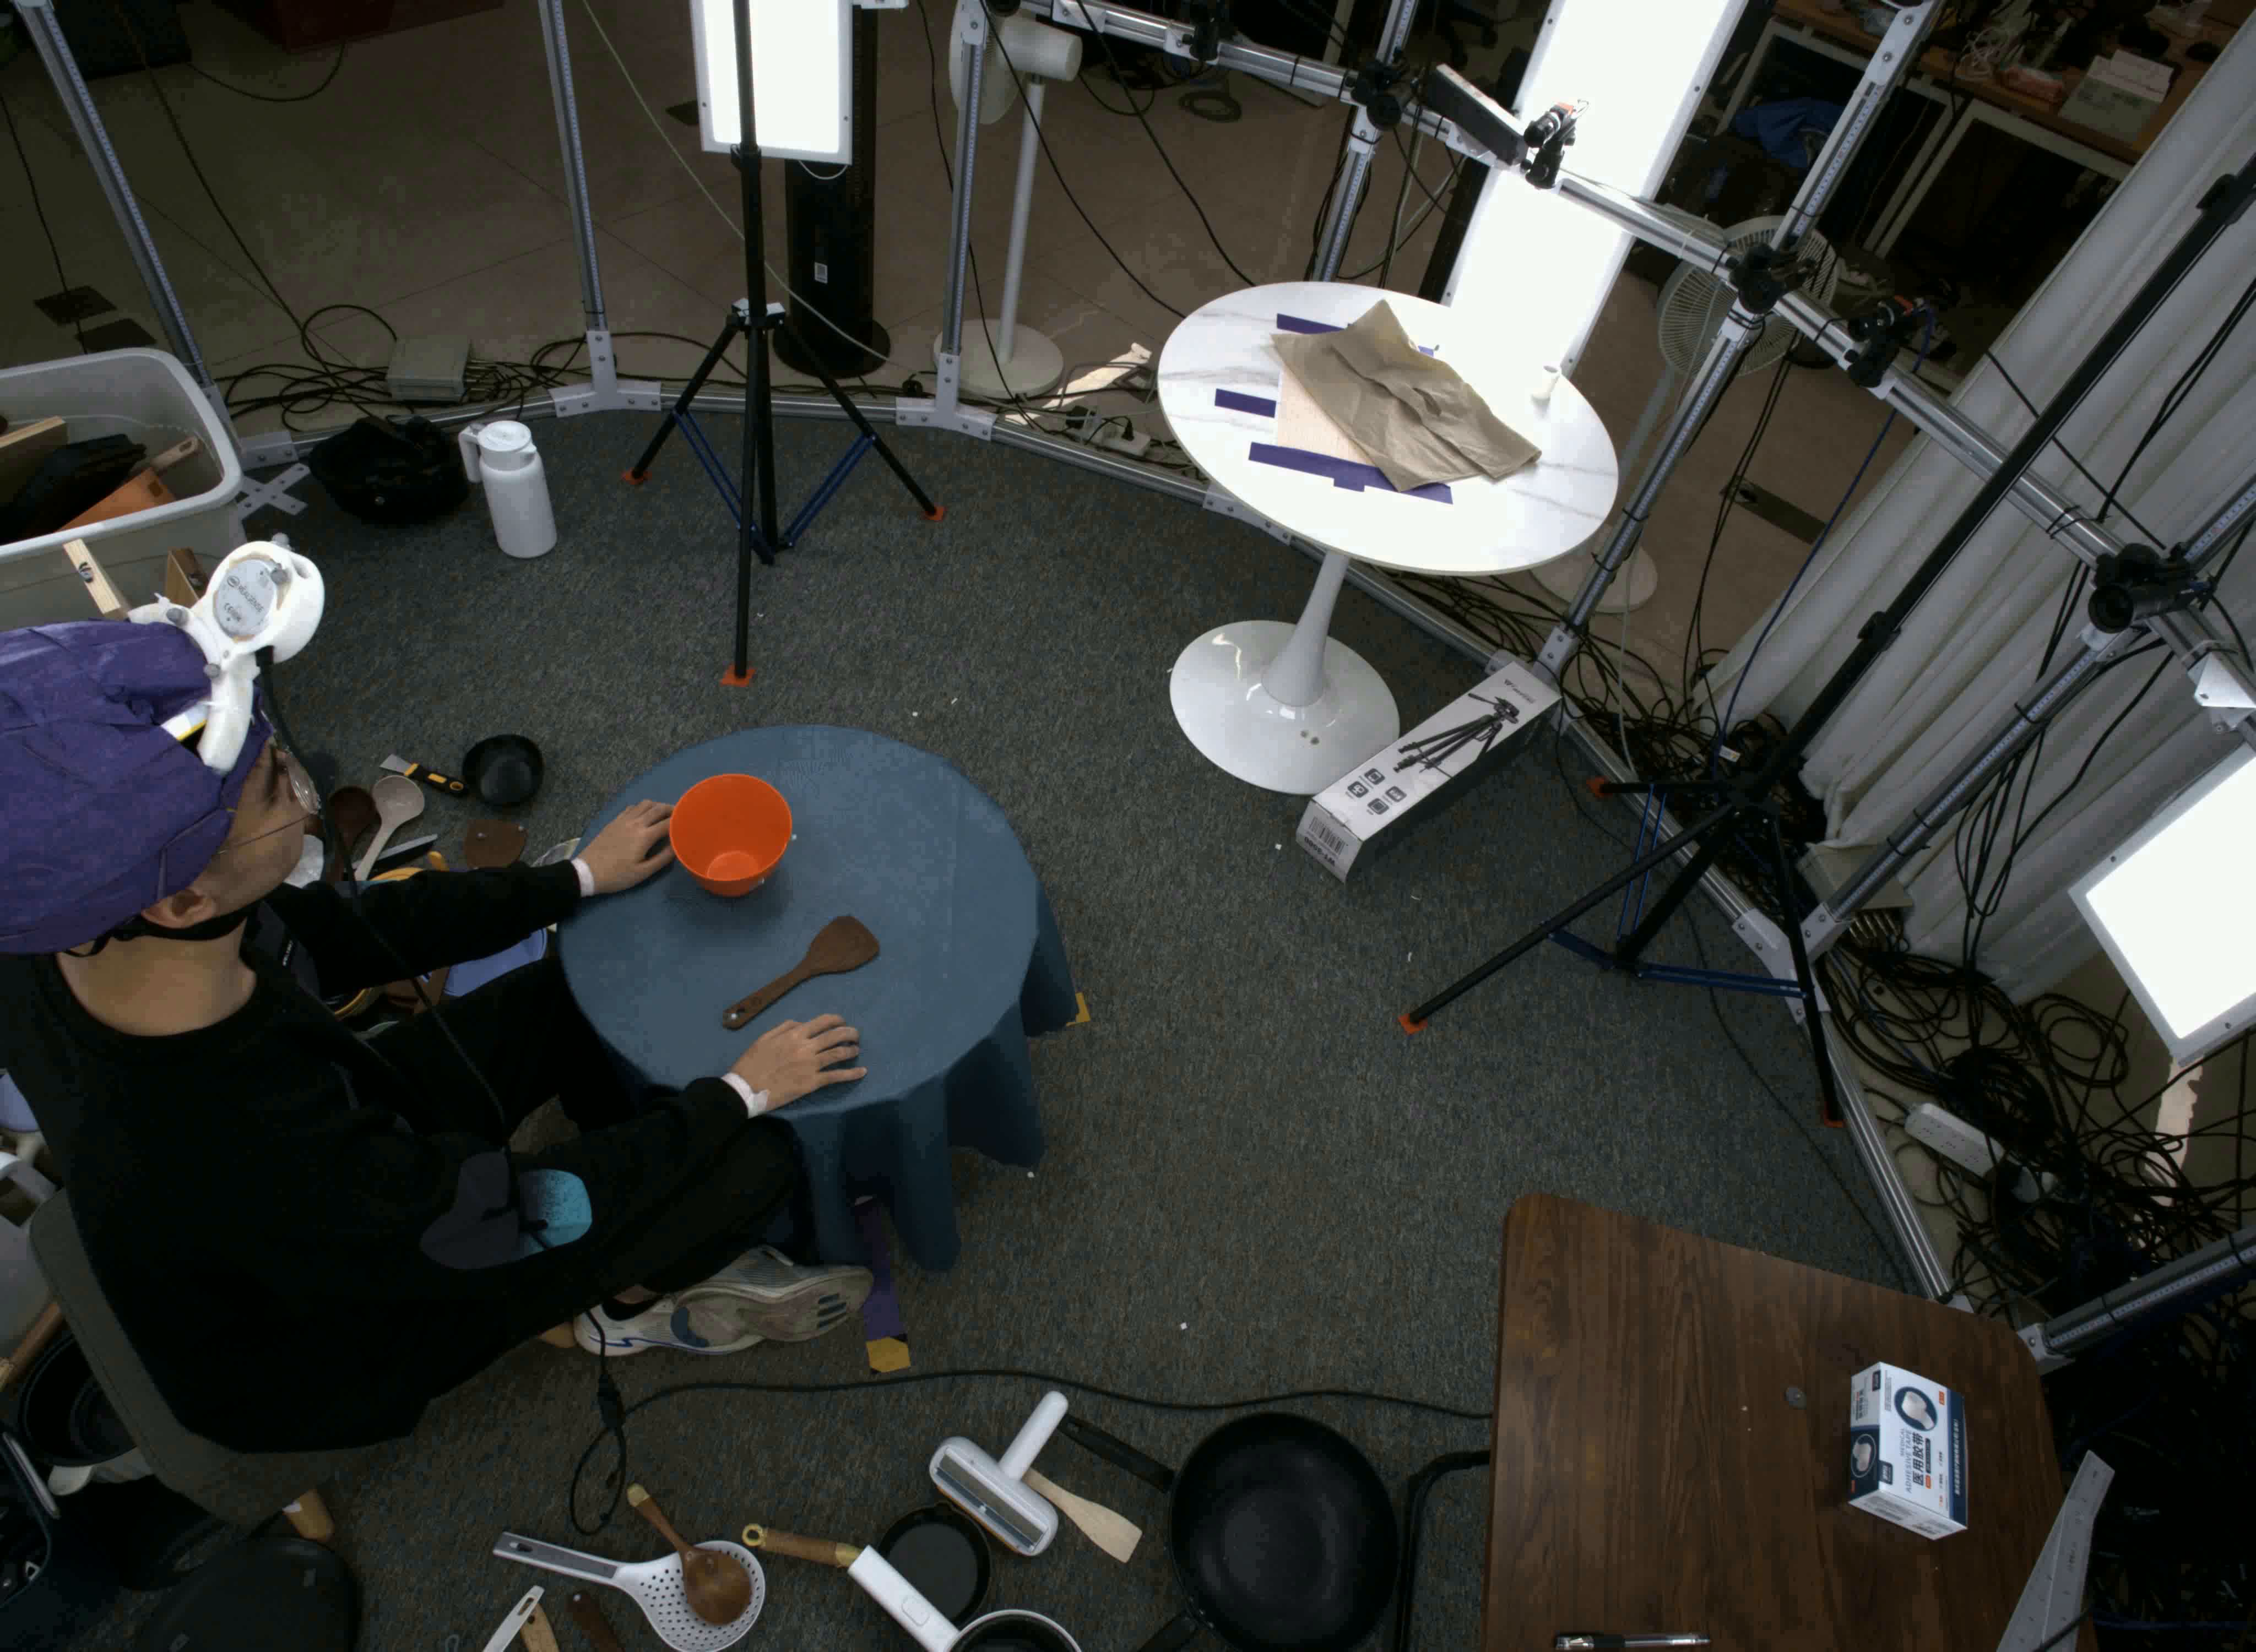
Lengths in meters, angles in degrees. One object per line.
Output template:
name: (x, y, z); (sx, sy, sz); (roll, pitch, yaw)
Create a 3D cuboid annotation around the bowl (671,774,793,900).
bowl: (-0.496, 0.024, 1.628); (0.148, 0.106, 0.145); (8, 54, -9)

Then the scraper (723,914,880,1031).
scraper: (-0.405, 0.182, 1.593); (0.074, 0.011, 0.212); (42, 56, 18)
